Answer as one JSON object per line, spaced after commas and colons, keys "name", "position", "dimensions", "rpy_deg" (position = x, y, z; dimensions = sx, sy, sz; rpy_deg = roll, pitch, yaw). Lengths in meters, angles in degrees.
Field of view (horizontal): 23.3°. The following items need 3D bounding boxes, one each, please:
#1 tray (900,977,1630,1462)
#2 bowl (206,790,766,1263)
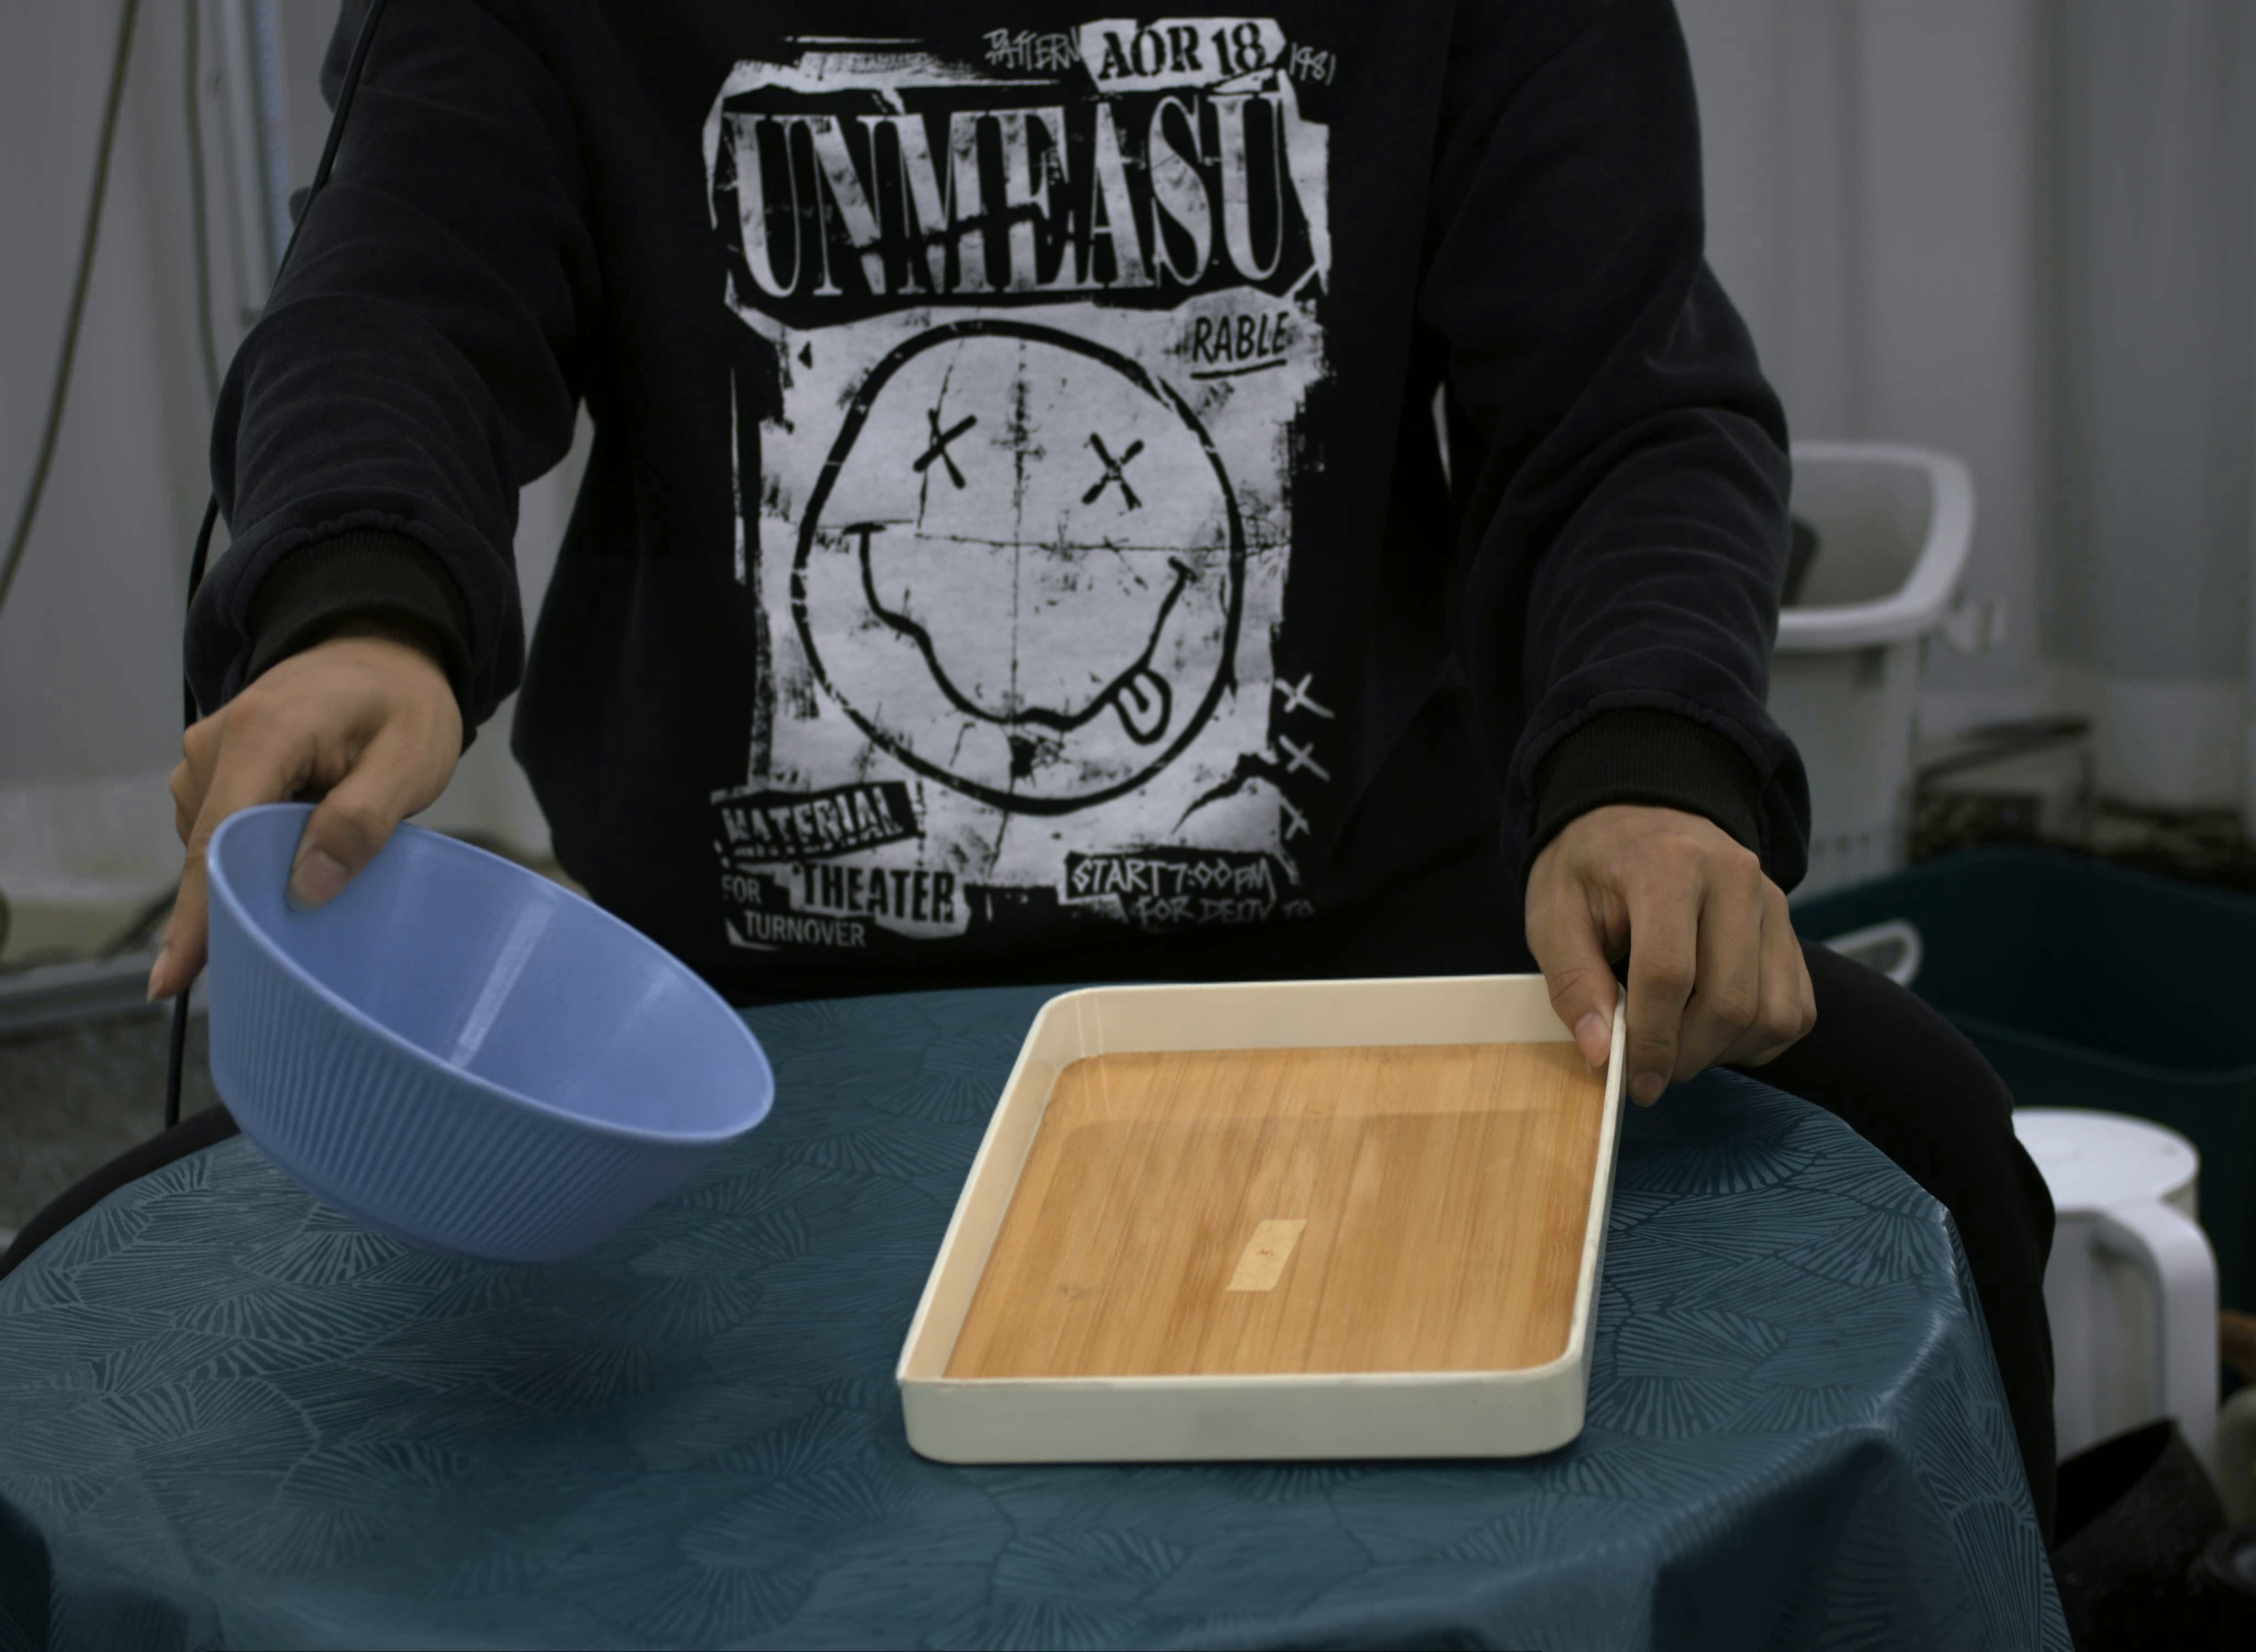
{"name": "tray", "position": [0.048, 0.112, 1.616], "dimensions": [0.191, 0.027, 0.302], "rpy_deg": [-1, 19, 9]}
{"name": "bowl", "position": [-0.194, 0.065, 1.556], "dimensions": [0.175, 0.070, 0.177], "rpy_deg": [29, 15, -9]}
